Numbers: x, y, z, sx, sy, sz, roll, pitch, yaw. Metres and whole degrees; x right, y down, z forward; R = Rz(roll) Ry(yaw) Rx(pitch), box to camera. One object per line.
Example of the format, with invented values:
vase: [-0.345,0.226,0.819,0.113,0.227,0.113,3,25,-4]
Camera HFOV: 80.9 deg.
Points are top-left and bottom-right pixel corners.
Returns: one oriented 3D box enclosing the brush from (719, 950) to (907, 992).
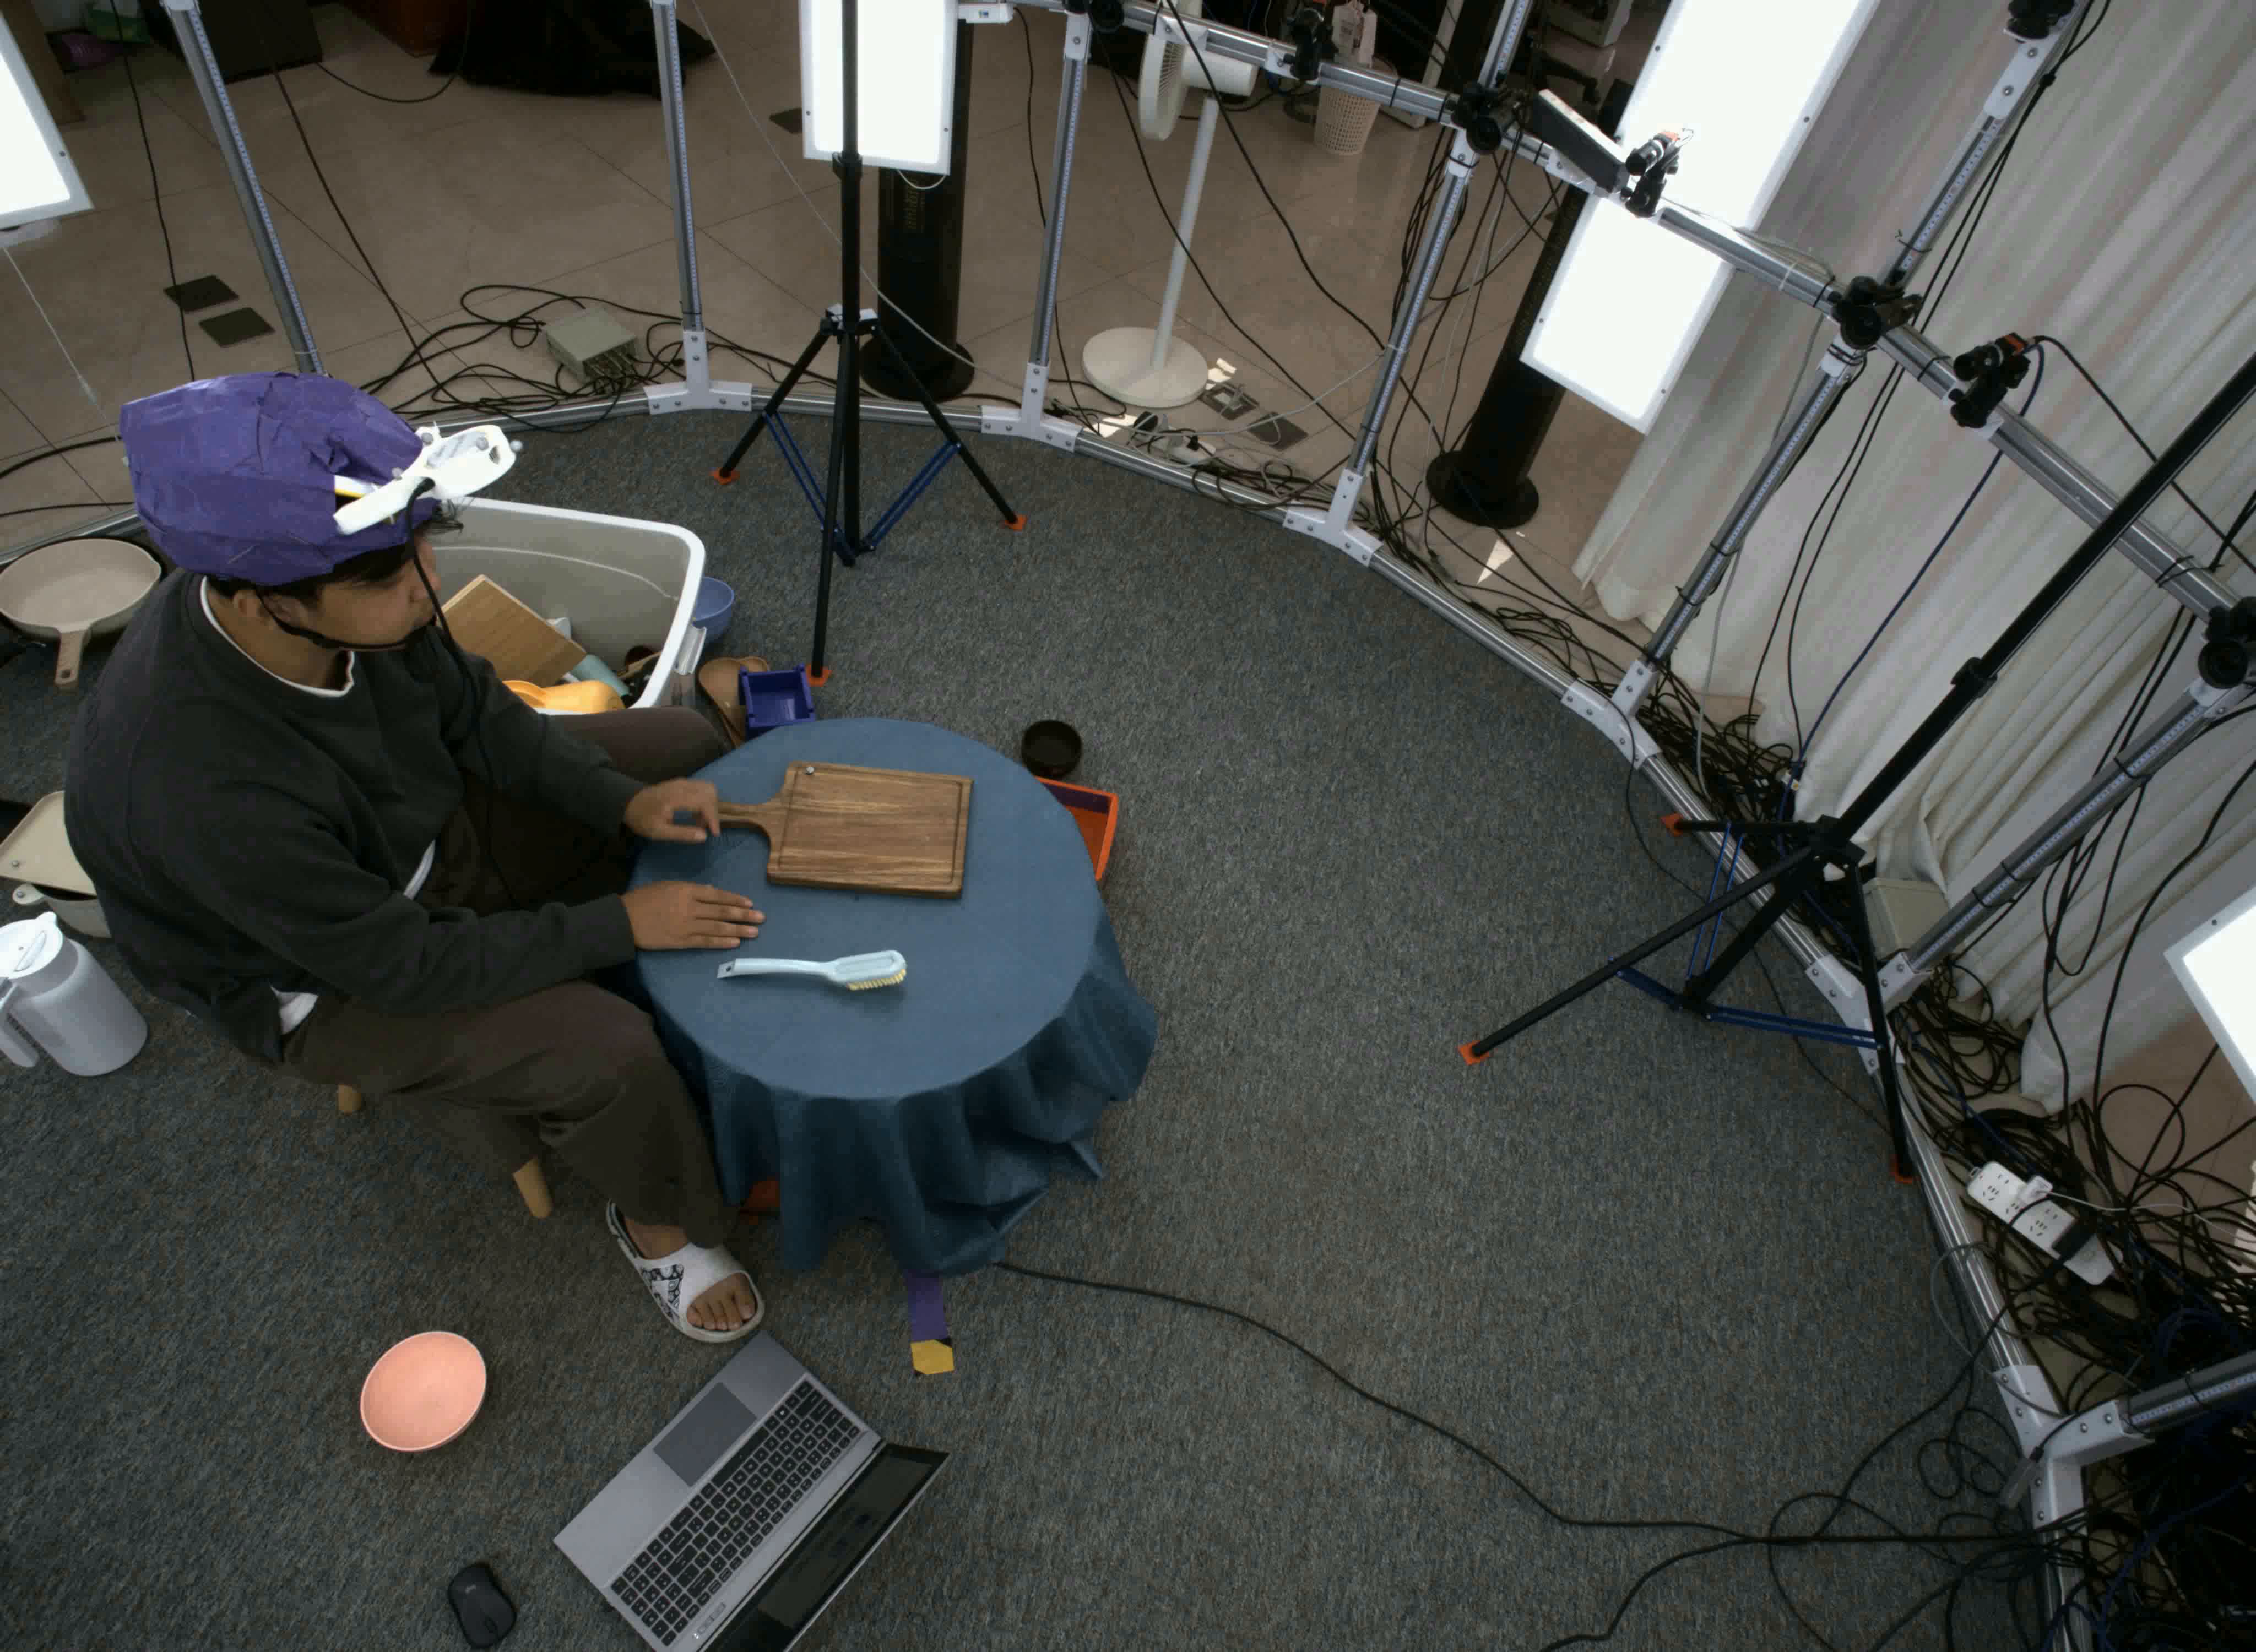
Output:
brush: [-0.383,0.178,1.577,0.227,0.051,0.037,-3,51,-5]

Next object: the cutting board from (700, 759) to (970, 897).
cutting board: [-0.388,-0.005,1.719,0.351,0.023,0.197,6,52,-10]
